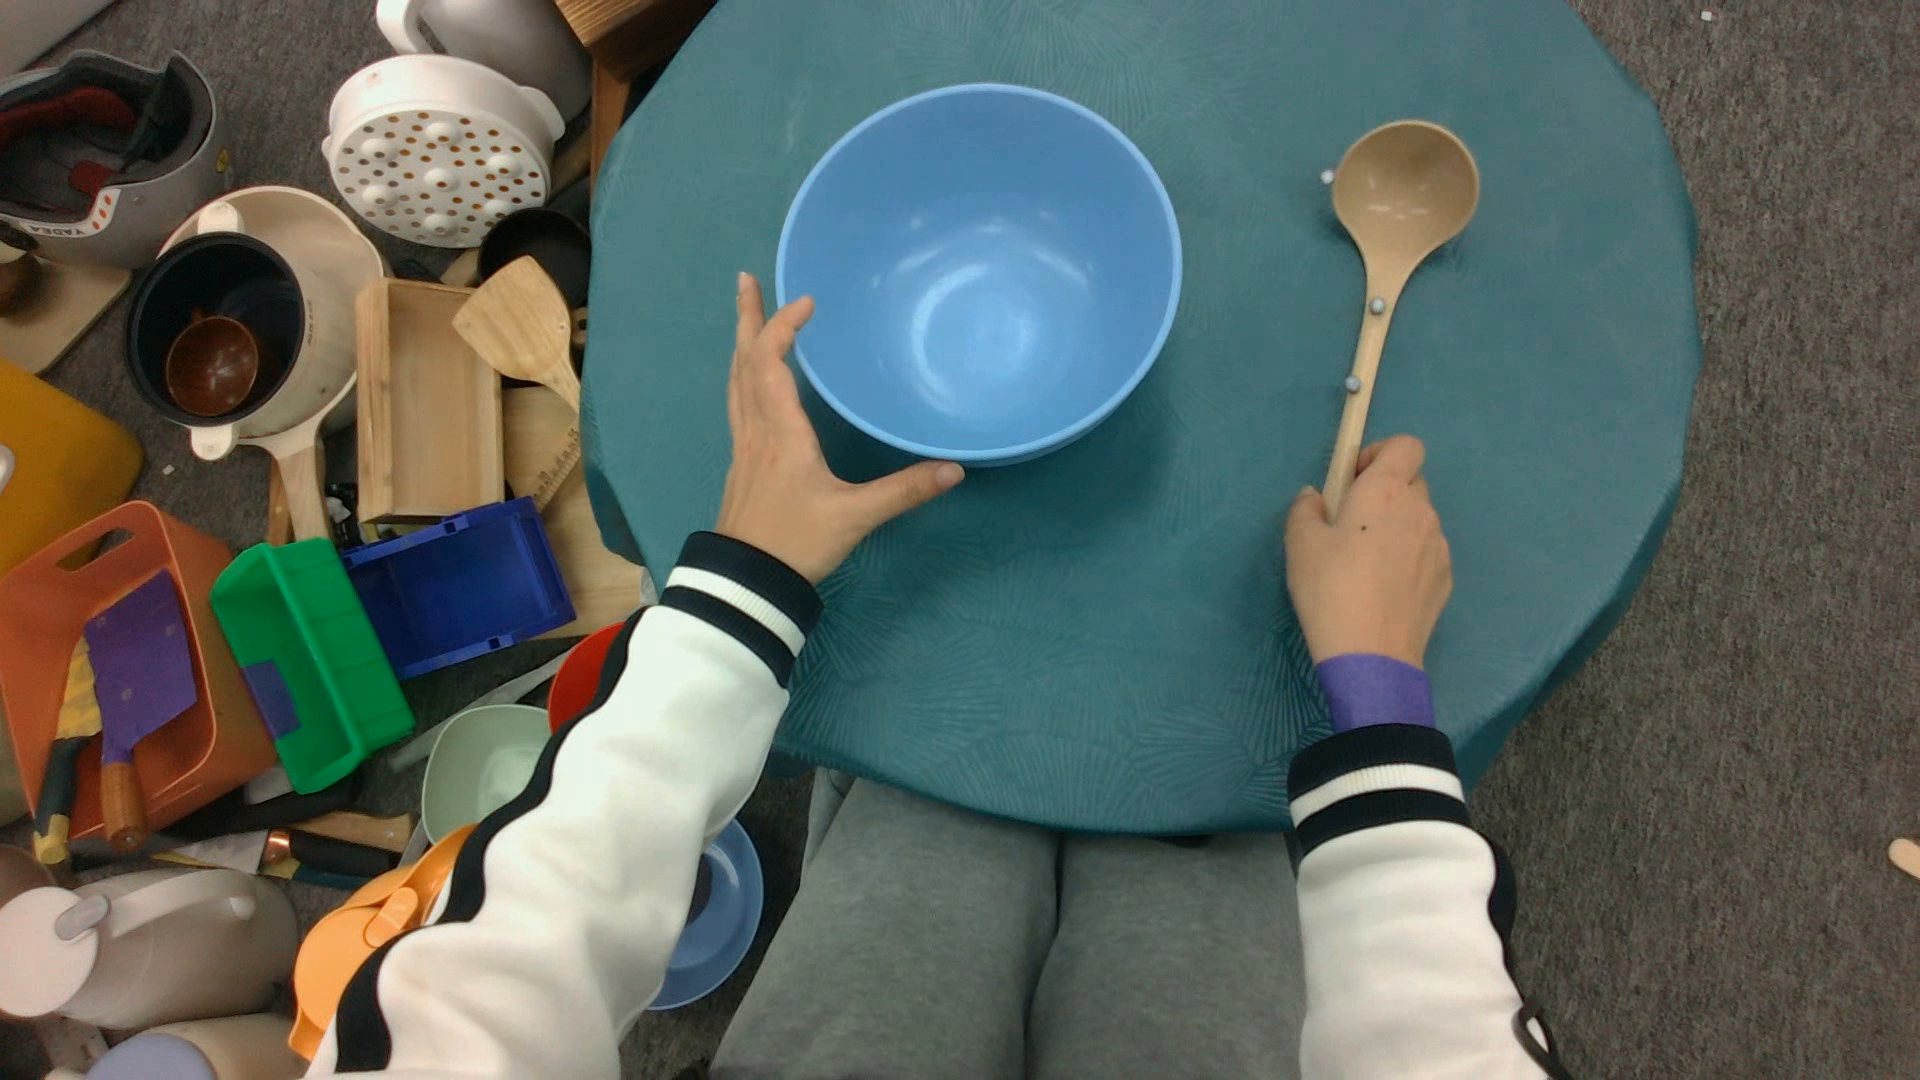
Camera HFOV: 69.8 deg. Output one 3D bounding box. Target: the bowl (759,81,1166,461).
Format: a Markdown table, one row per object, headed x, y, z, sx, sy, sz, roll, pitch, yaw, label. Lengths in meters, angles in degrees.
| x | y | z | sx | sy | sz | roll | pitch | yaw | label |
| --- | --- | --- | --- | --- | --- | --- | --- | --- | --- |
| 0.003 | -0.123 | 0.707 | 0.196 | 0.095 | 0.197 | 0 | 75 | 2 | bowl |

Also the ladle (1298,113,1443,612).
| x | y | z | sx | sy | sz | roll | pitch | yaw | label |
| --- | --- | --- | --- | --- | --- | --- | --- | --- | --- |
| 0.192 | -0.095 | 0.690 | 0.072 | 0.073 | 0.255 | 6 | 72 | 25 | ladle |
